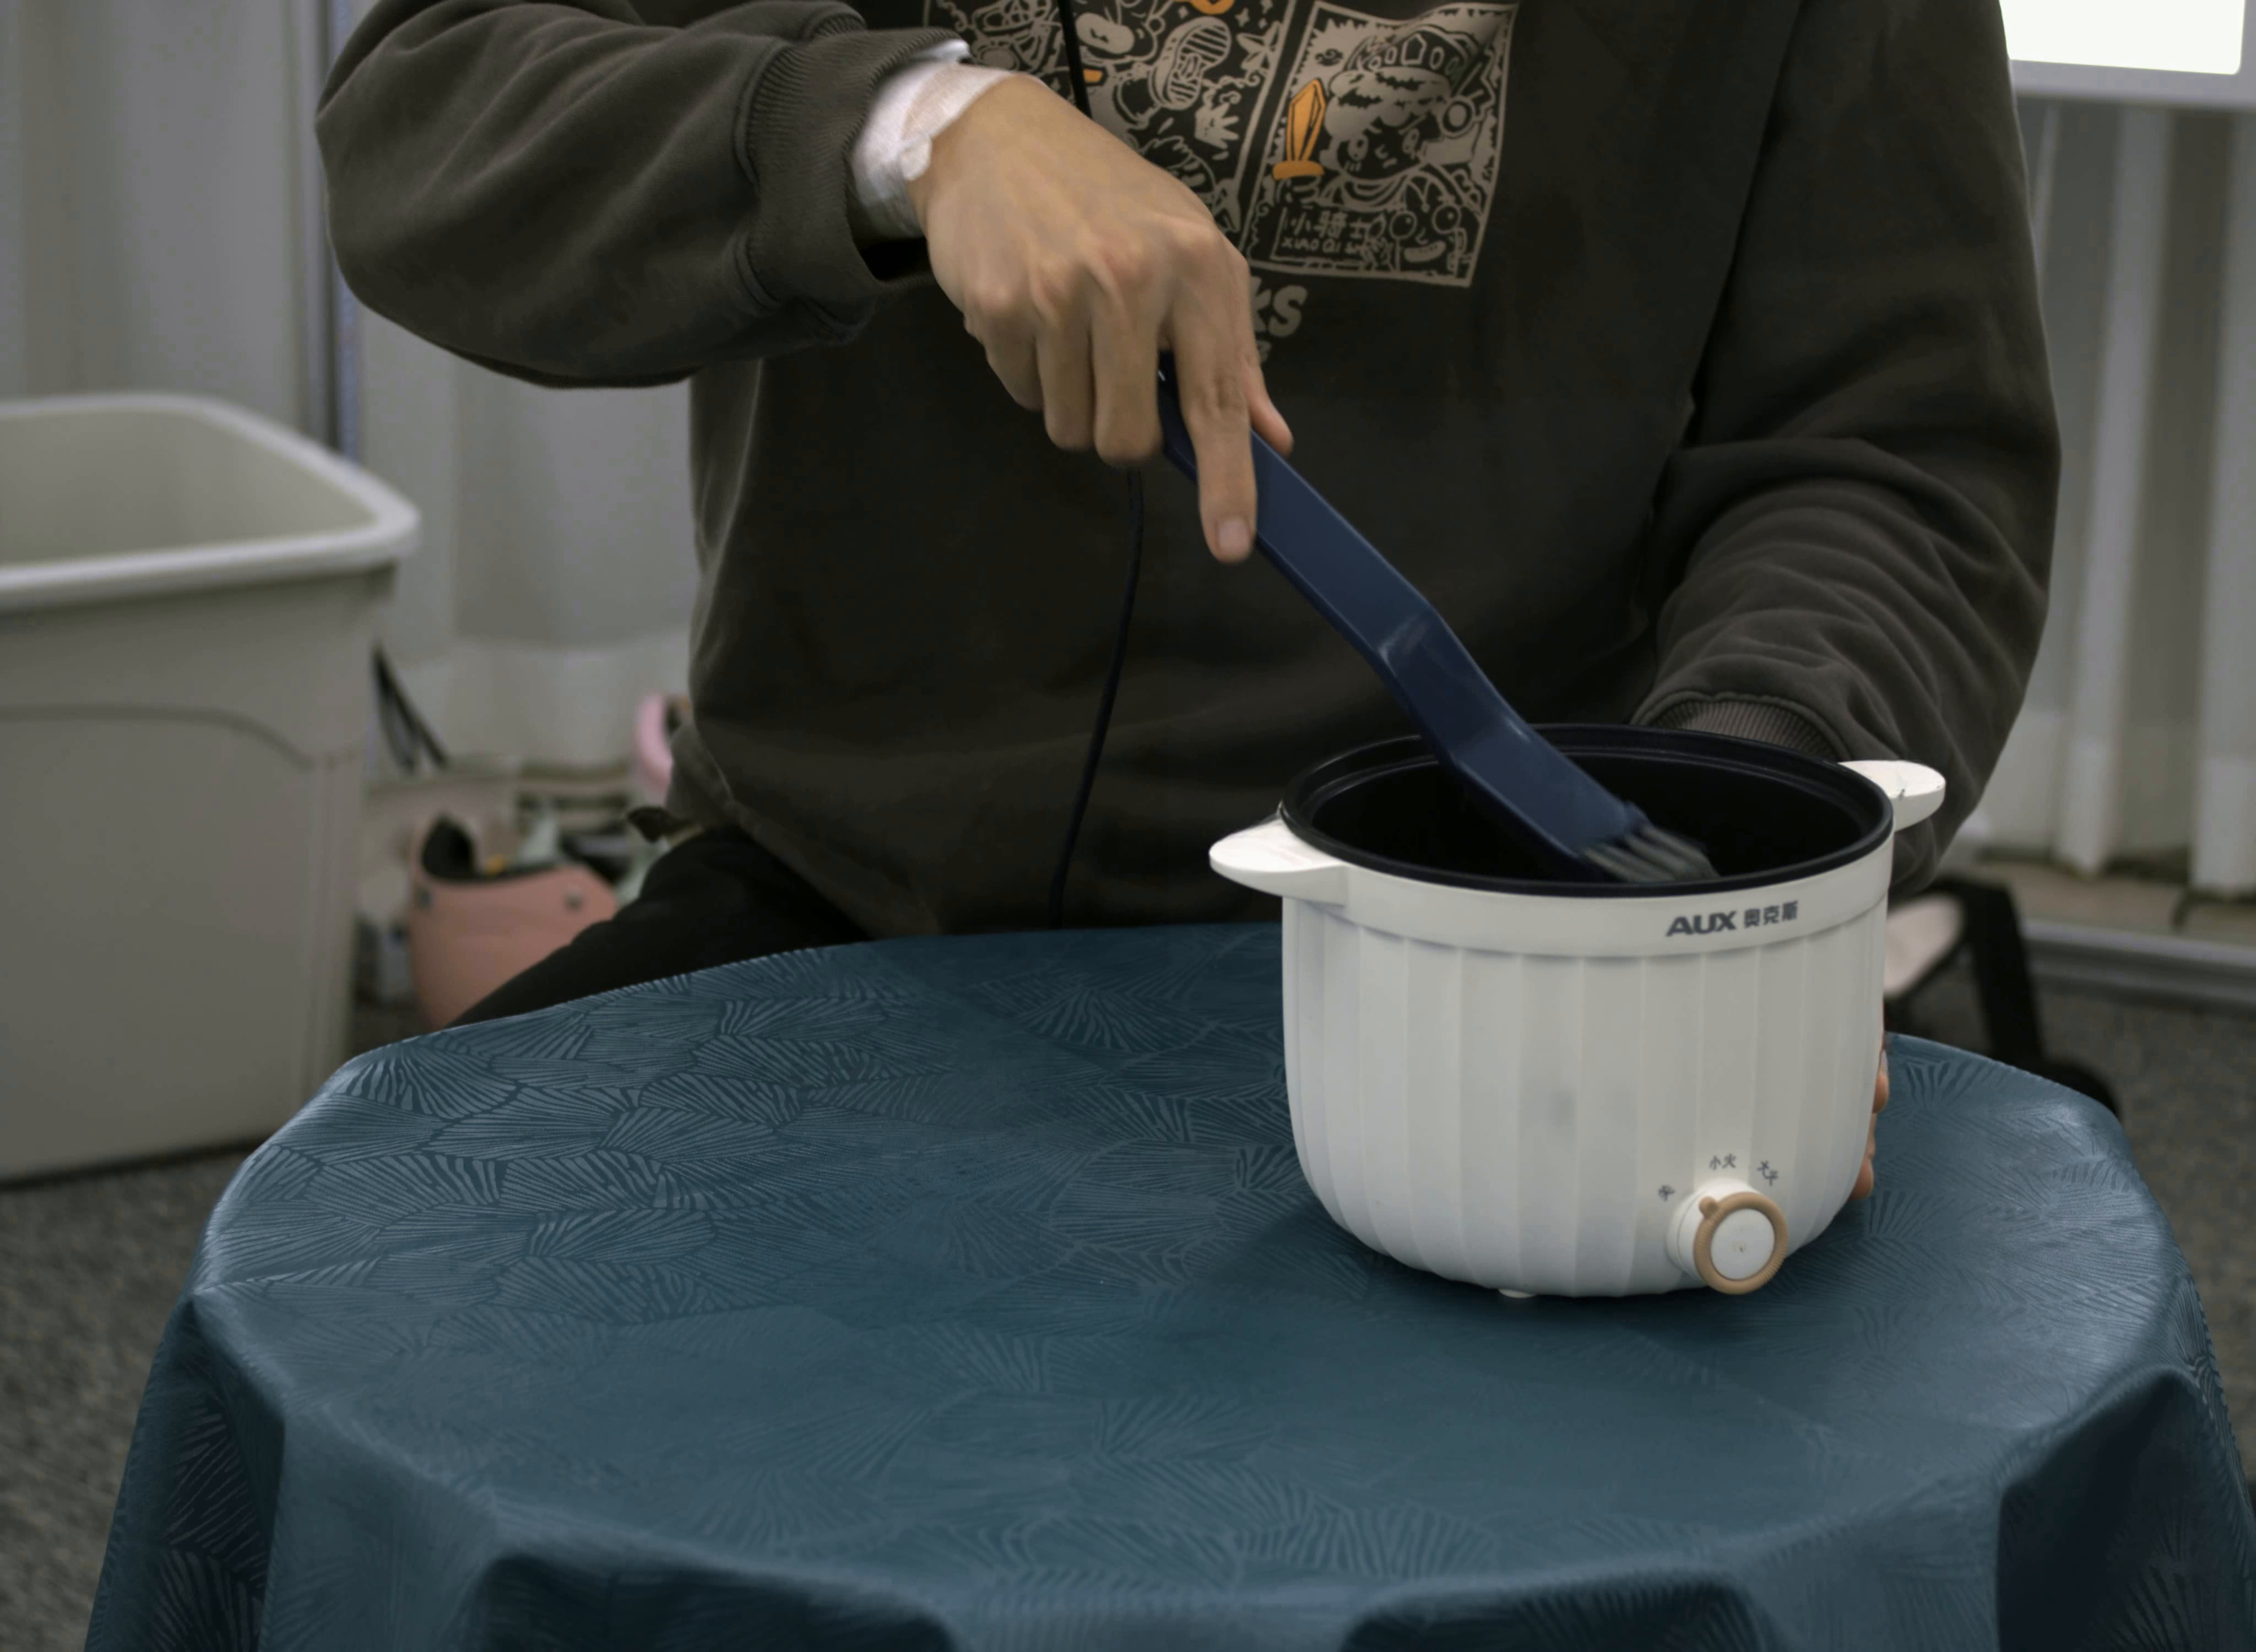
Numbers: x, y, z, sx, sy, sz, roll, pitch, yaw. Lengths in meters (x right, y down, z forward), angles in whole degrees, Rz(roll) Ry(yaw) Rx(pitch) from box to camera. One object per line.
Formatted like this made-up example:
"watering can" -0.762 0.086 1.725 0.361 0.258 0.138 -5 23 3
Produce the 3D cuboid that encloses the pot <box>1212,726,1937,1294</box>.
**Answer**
"pot" 0.139 0.057 1.573 0.241 0.144 0.188 -8 14 -23

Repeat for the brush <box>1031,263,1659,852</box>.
"brush" 0.072 -0.069 1.594 0.033 0.273 0.096 -41 -4 -11
